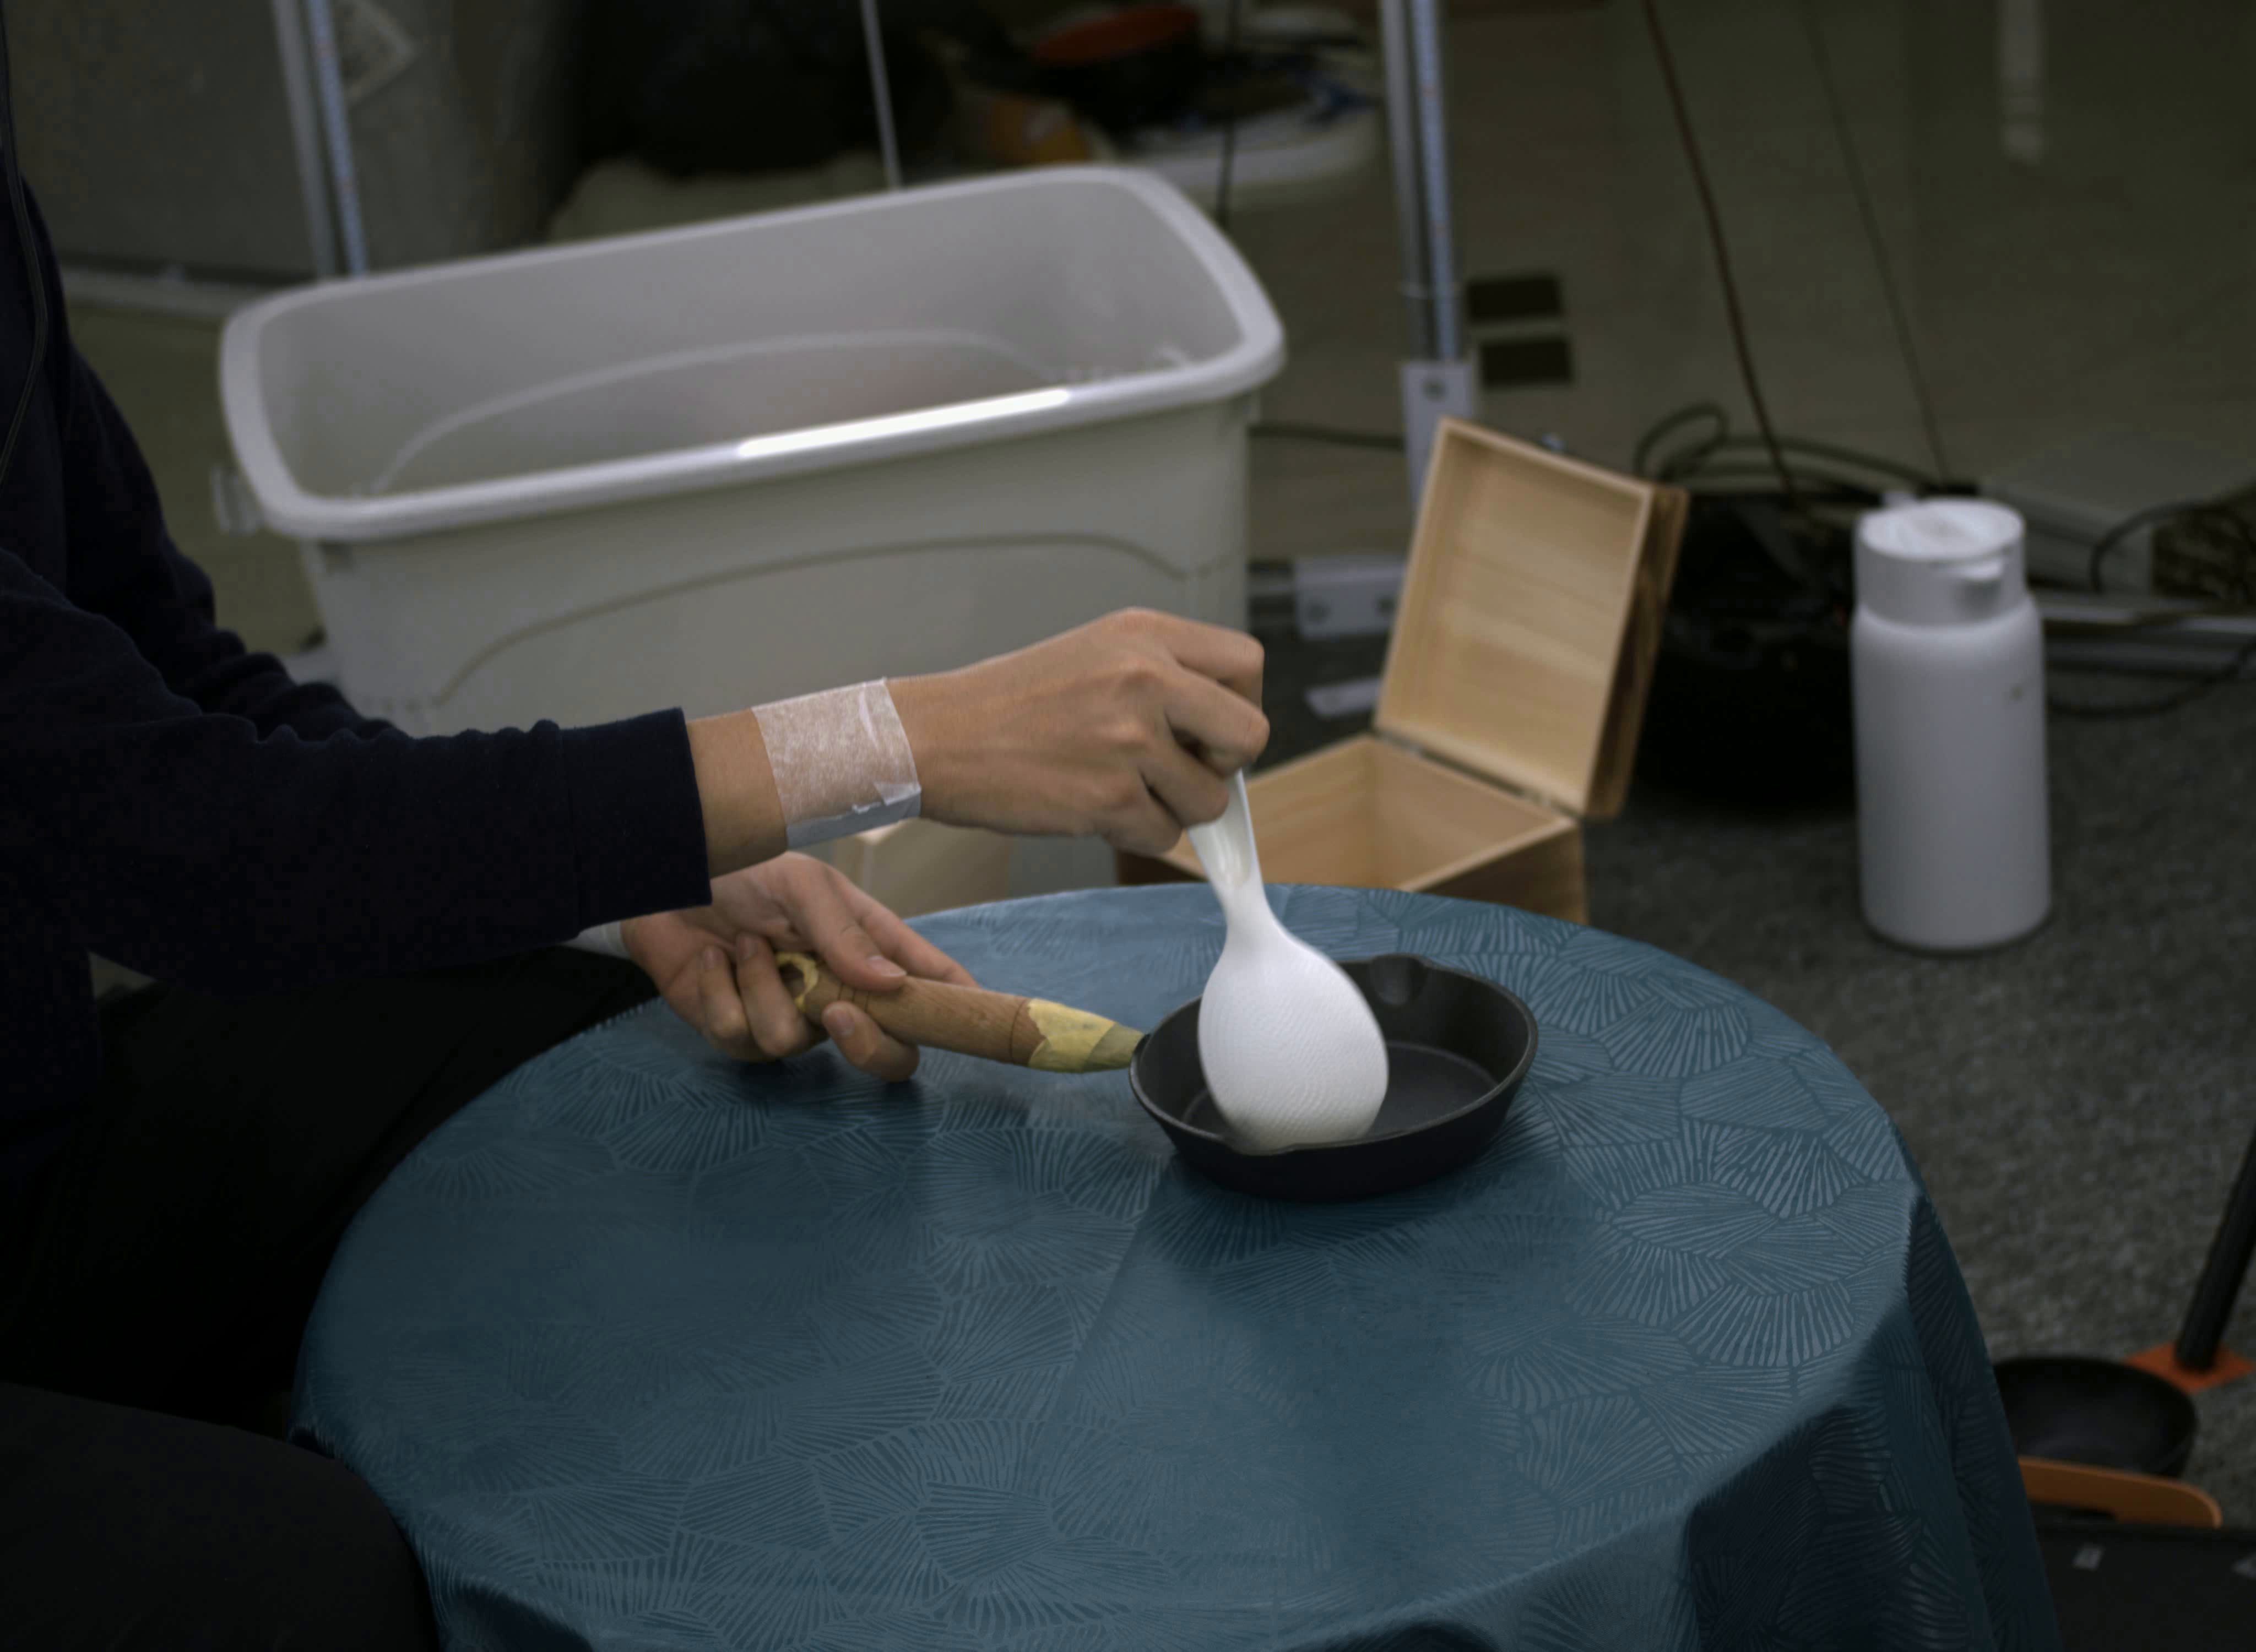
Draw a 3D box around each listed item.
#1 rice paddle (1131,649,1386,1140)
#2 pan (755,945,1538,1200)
[{"bbox_3d":[0.045,0.030,2.099,0.069,0.208,0.029,-12,28,12],"label":"rice paddle"},{"bbox_3d":[0.003,0.085,2.201,0.323,0.050,0.167,6,28,24],"label":"pan"}]
